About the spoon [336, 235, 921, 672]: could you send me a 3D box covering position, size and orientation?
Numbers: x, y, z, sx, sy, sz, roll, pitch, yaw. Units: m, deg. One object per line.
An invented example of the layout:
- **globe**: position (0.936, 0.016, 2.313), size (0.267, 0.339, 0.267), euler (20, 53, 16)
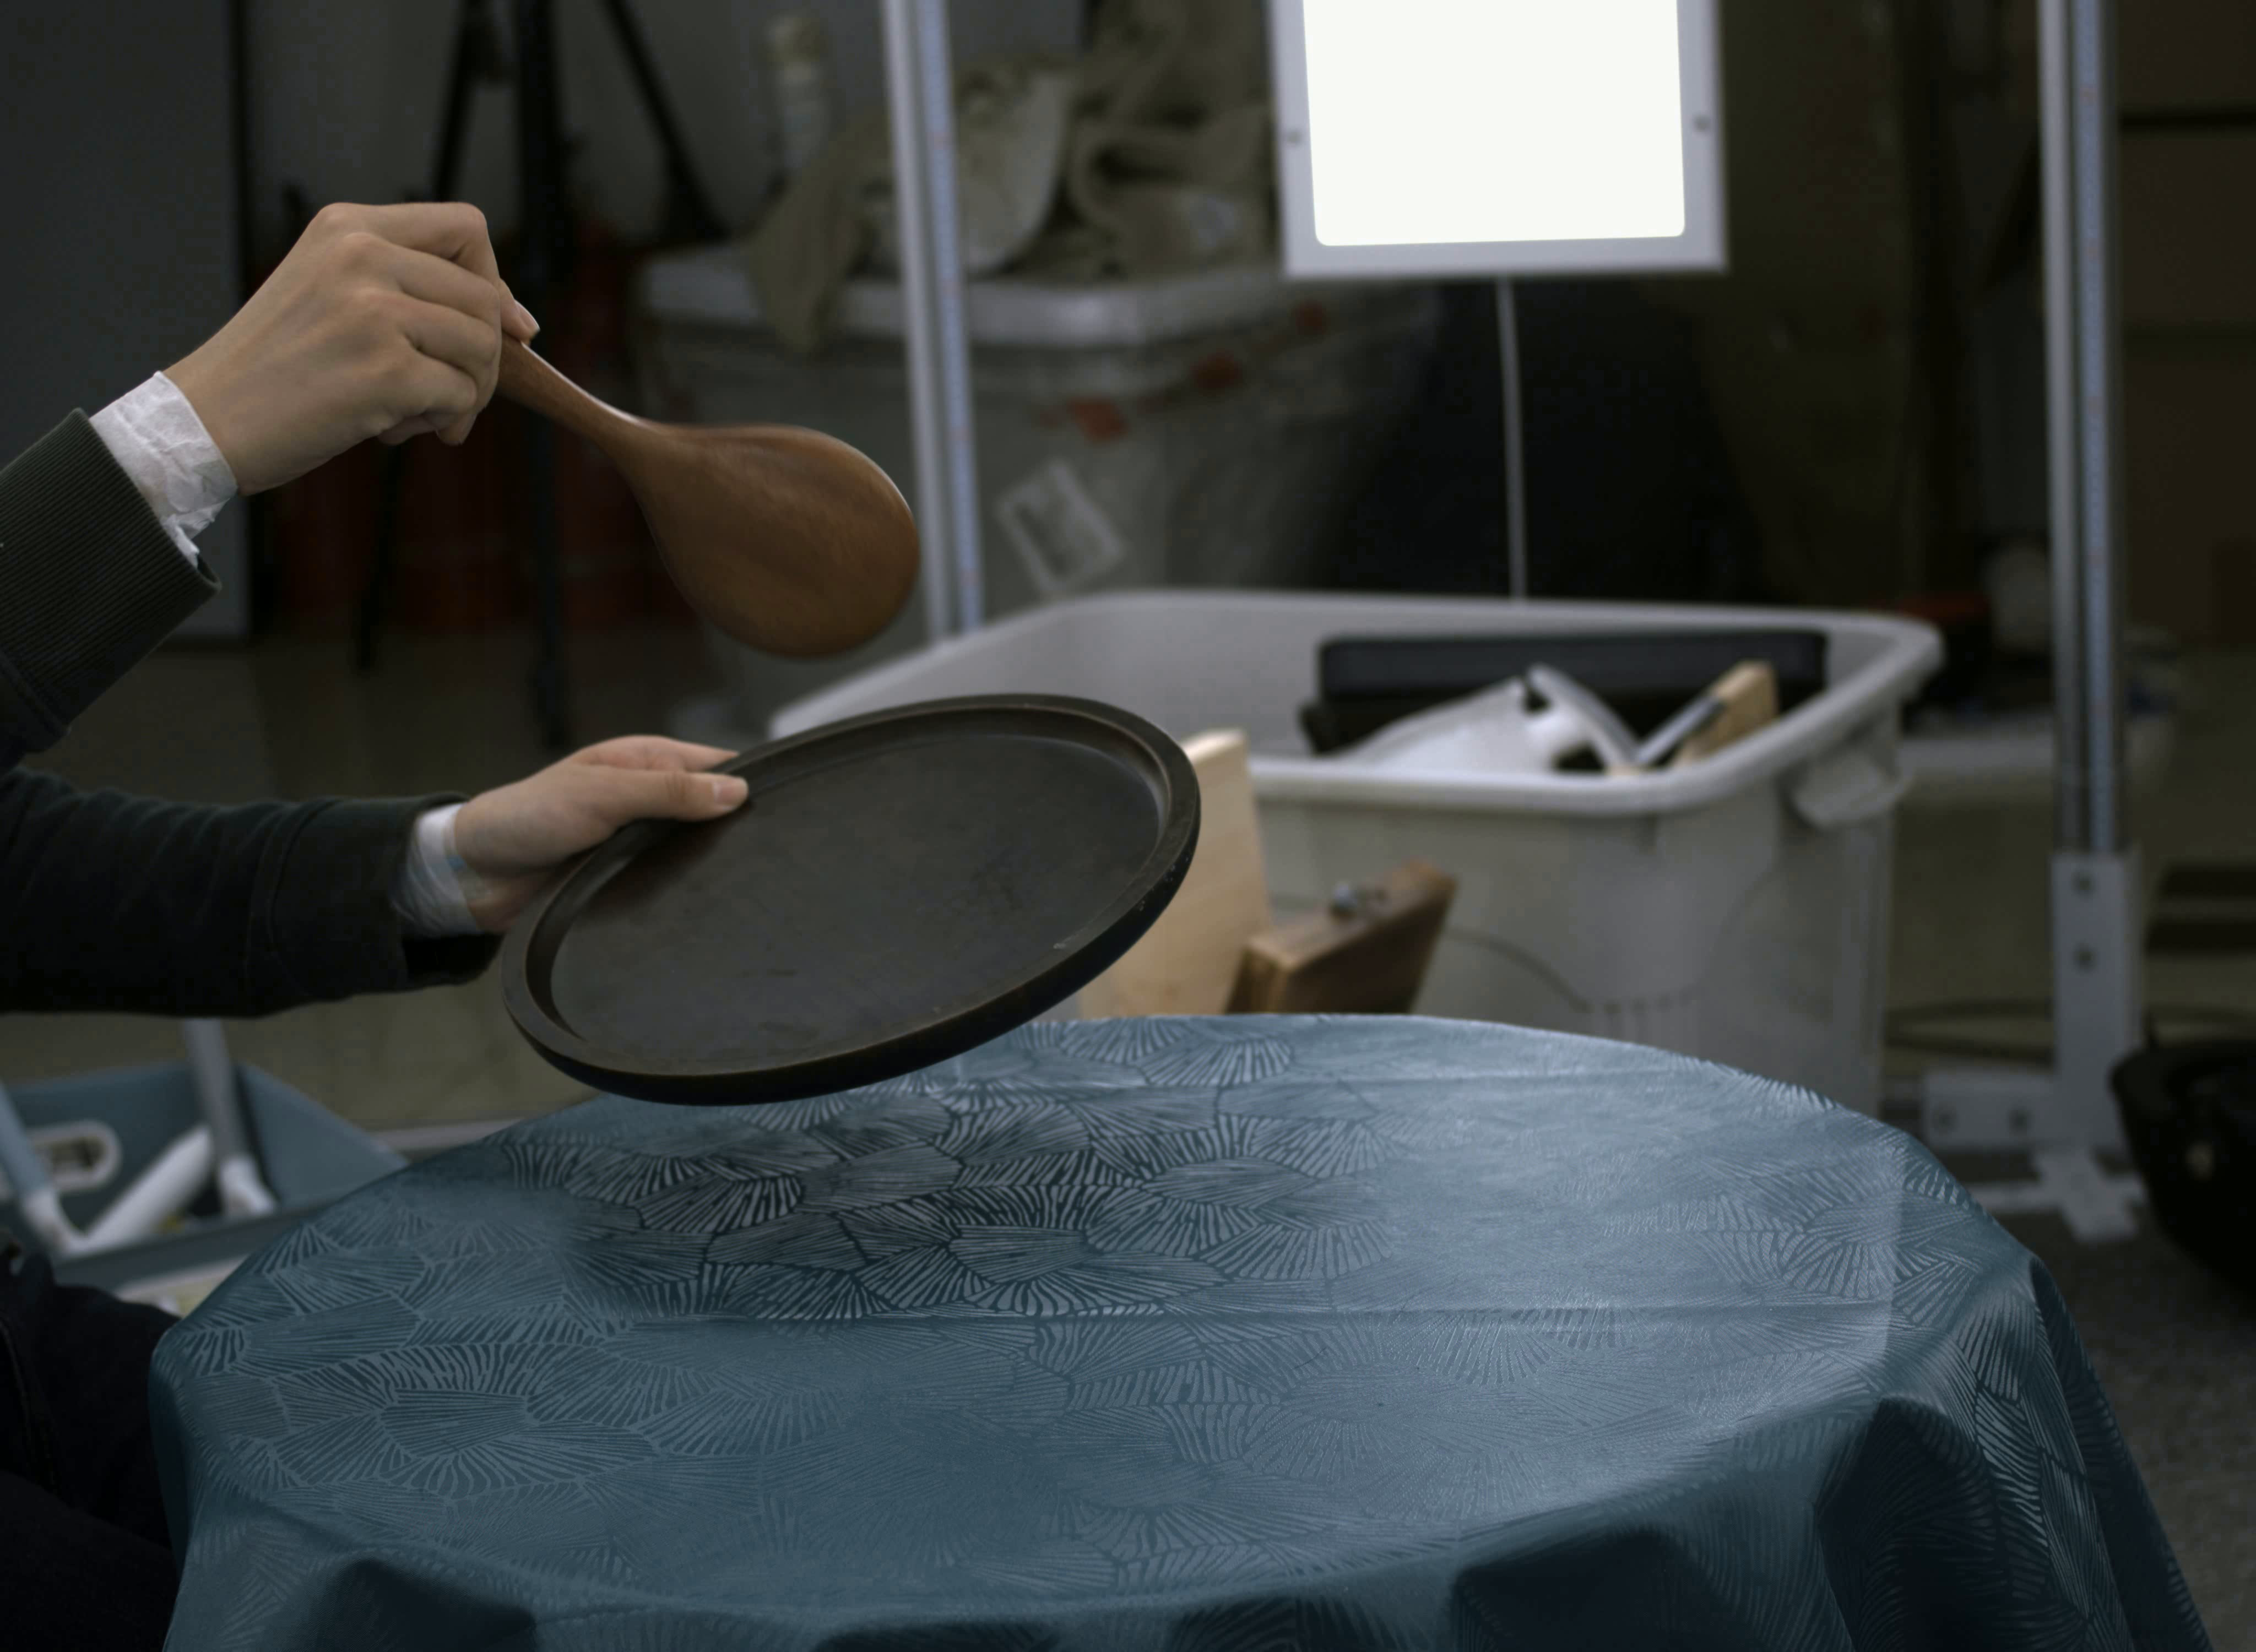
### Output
- **spoon**: position (-0.158, -0.120, 1.743), size (0.213, 0.076, 0.017), euler (34, 14, -16)

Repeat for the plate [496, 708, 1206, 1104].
- **plate**: position (-0.094, 0.026, 1.911), size (0.255, 0.029, 0.254), euler (-14, 26, 5)
